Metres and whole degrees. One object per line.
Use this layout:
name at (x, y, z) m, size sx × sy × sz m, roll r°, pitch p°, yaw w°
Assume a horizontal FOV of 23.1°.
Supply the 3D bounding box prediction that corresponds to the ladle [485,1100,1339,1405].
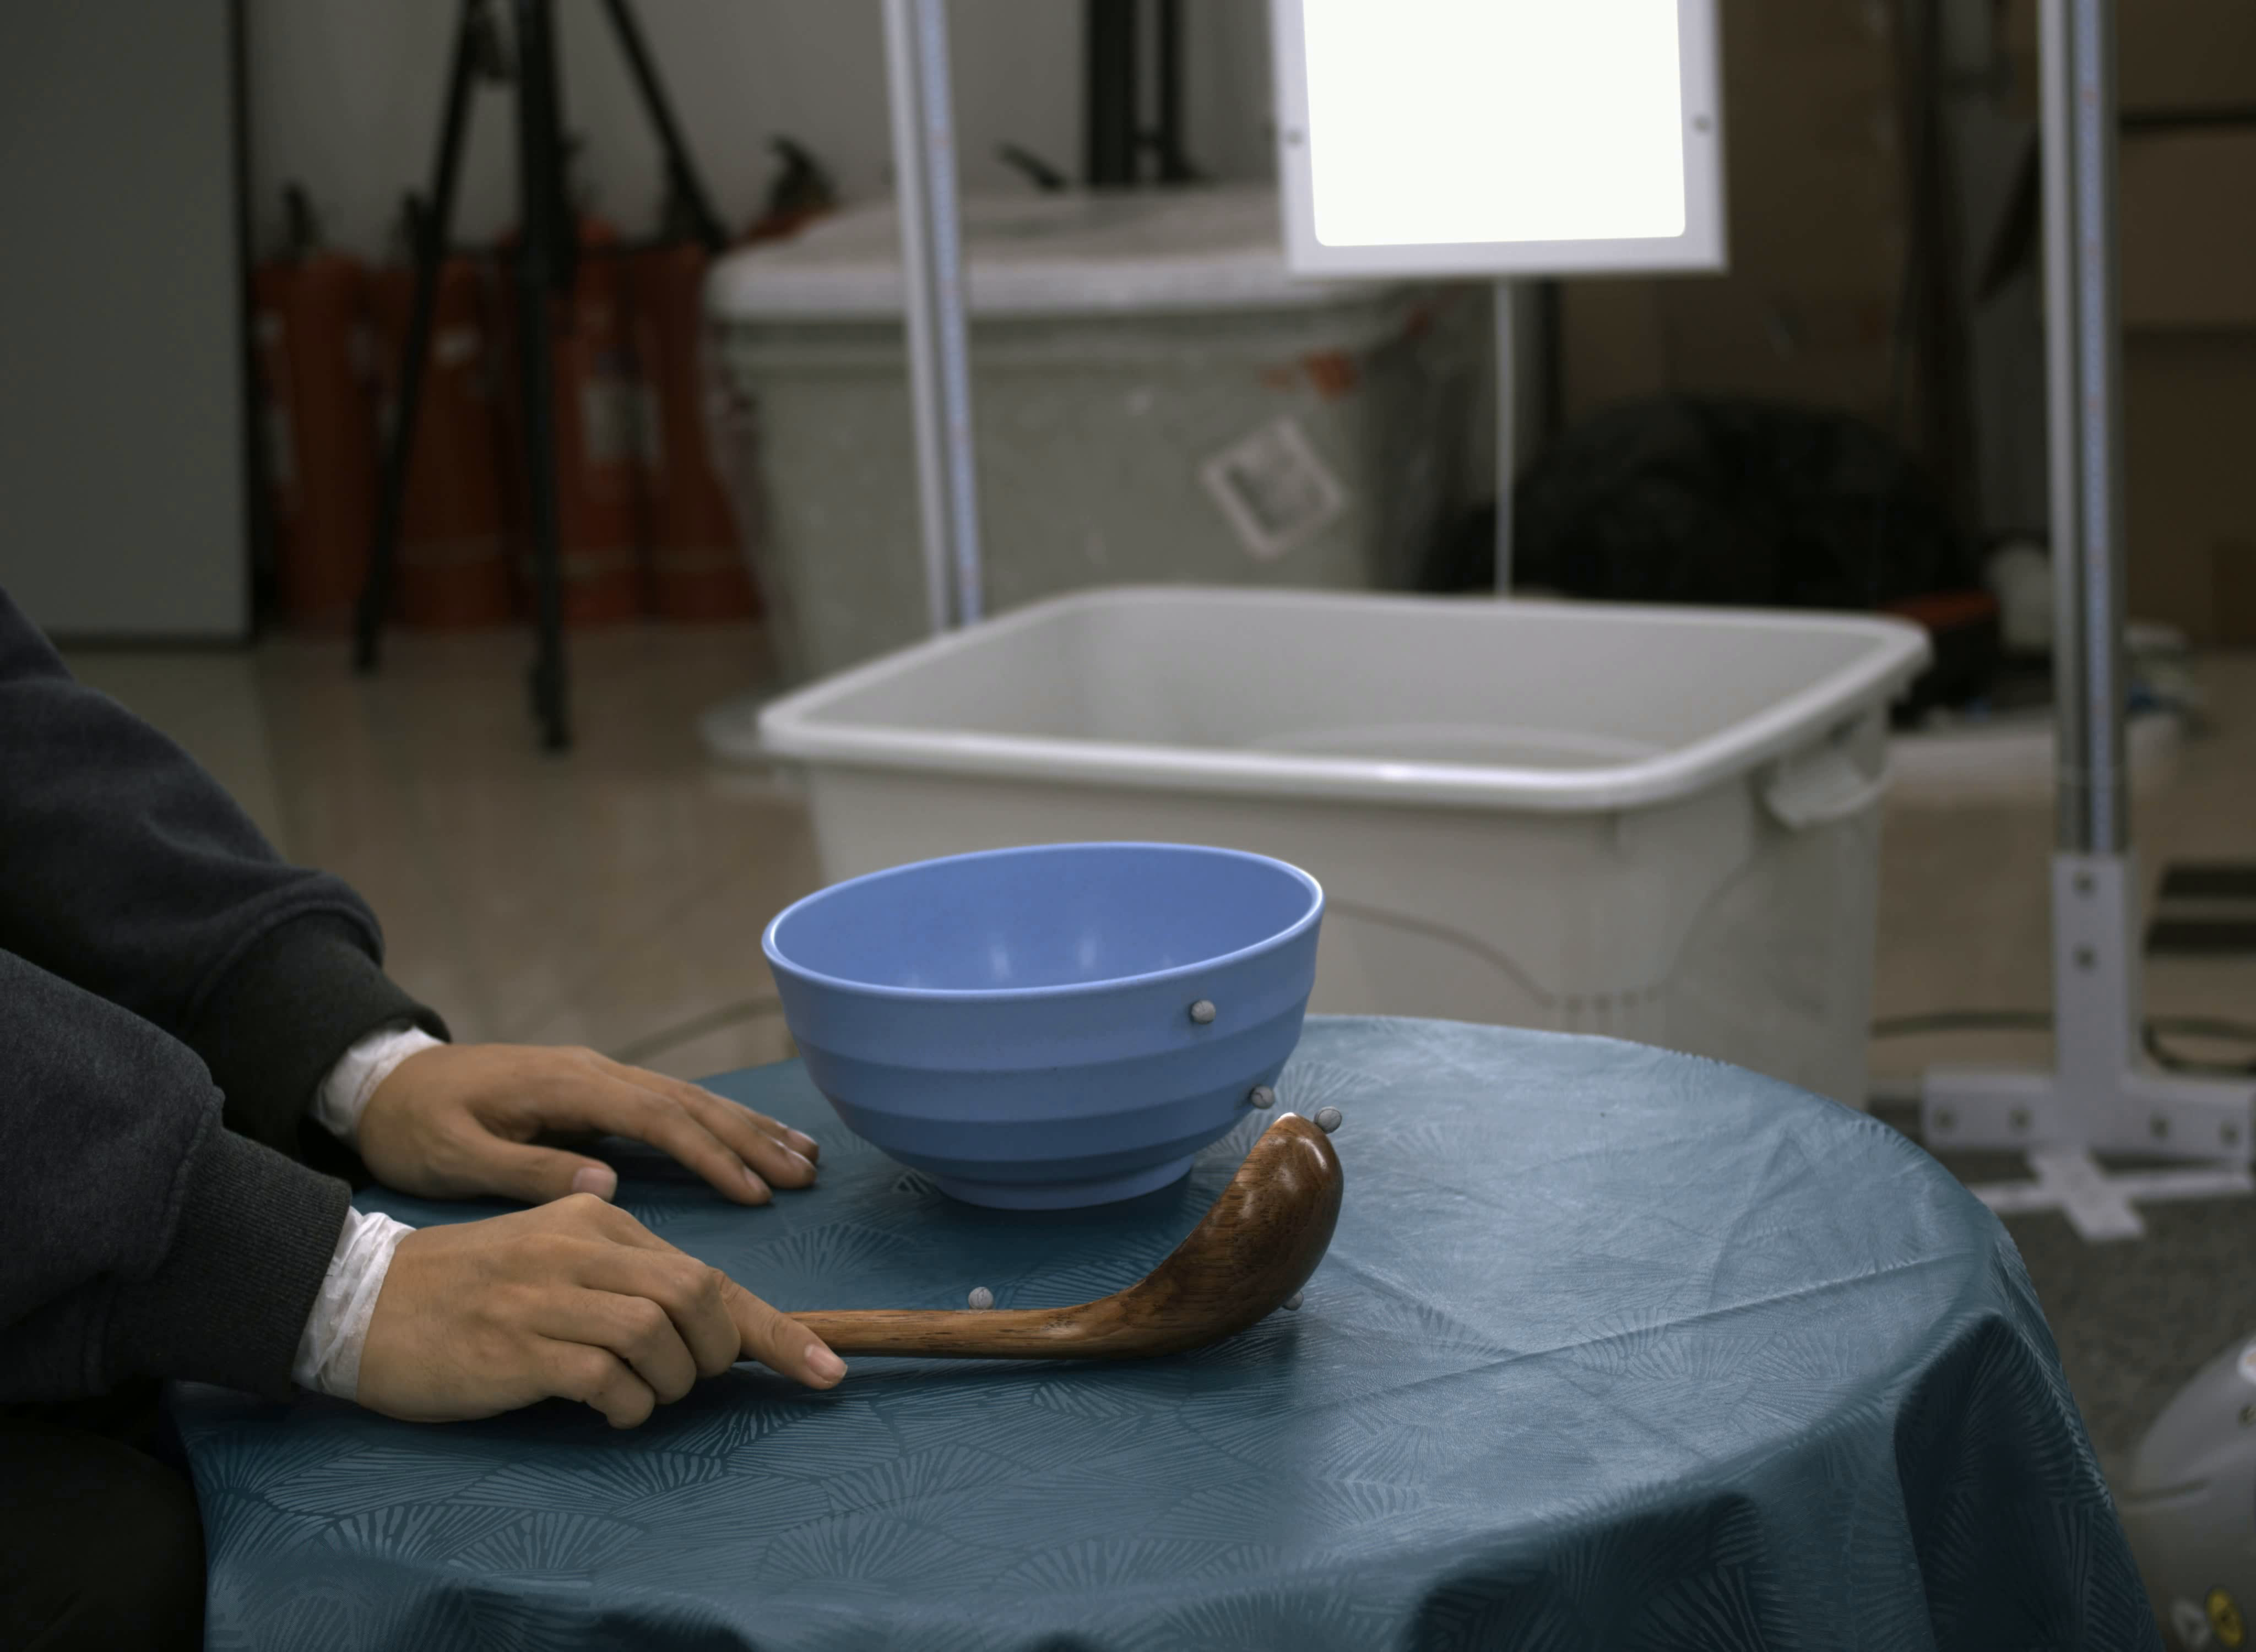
ladle at (-0.069, 0.133, 1.739) m, size 0.275 × 0.076 × 0.081 m, roll -4°, pitch -22°, yaw 7°

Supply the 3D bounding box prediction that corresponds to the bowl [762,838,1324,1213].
bowl at (-0.026, 0.075, 1.917) m, size 0.196 × 0.096 × 0.196 m, roll -6°, pitch 14°, yaw 0°
